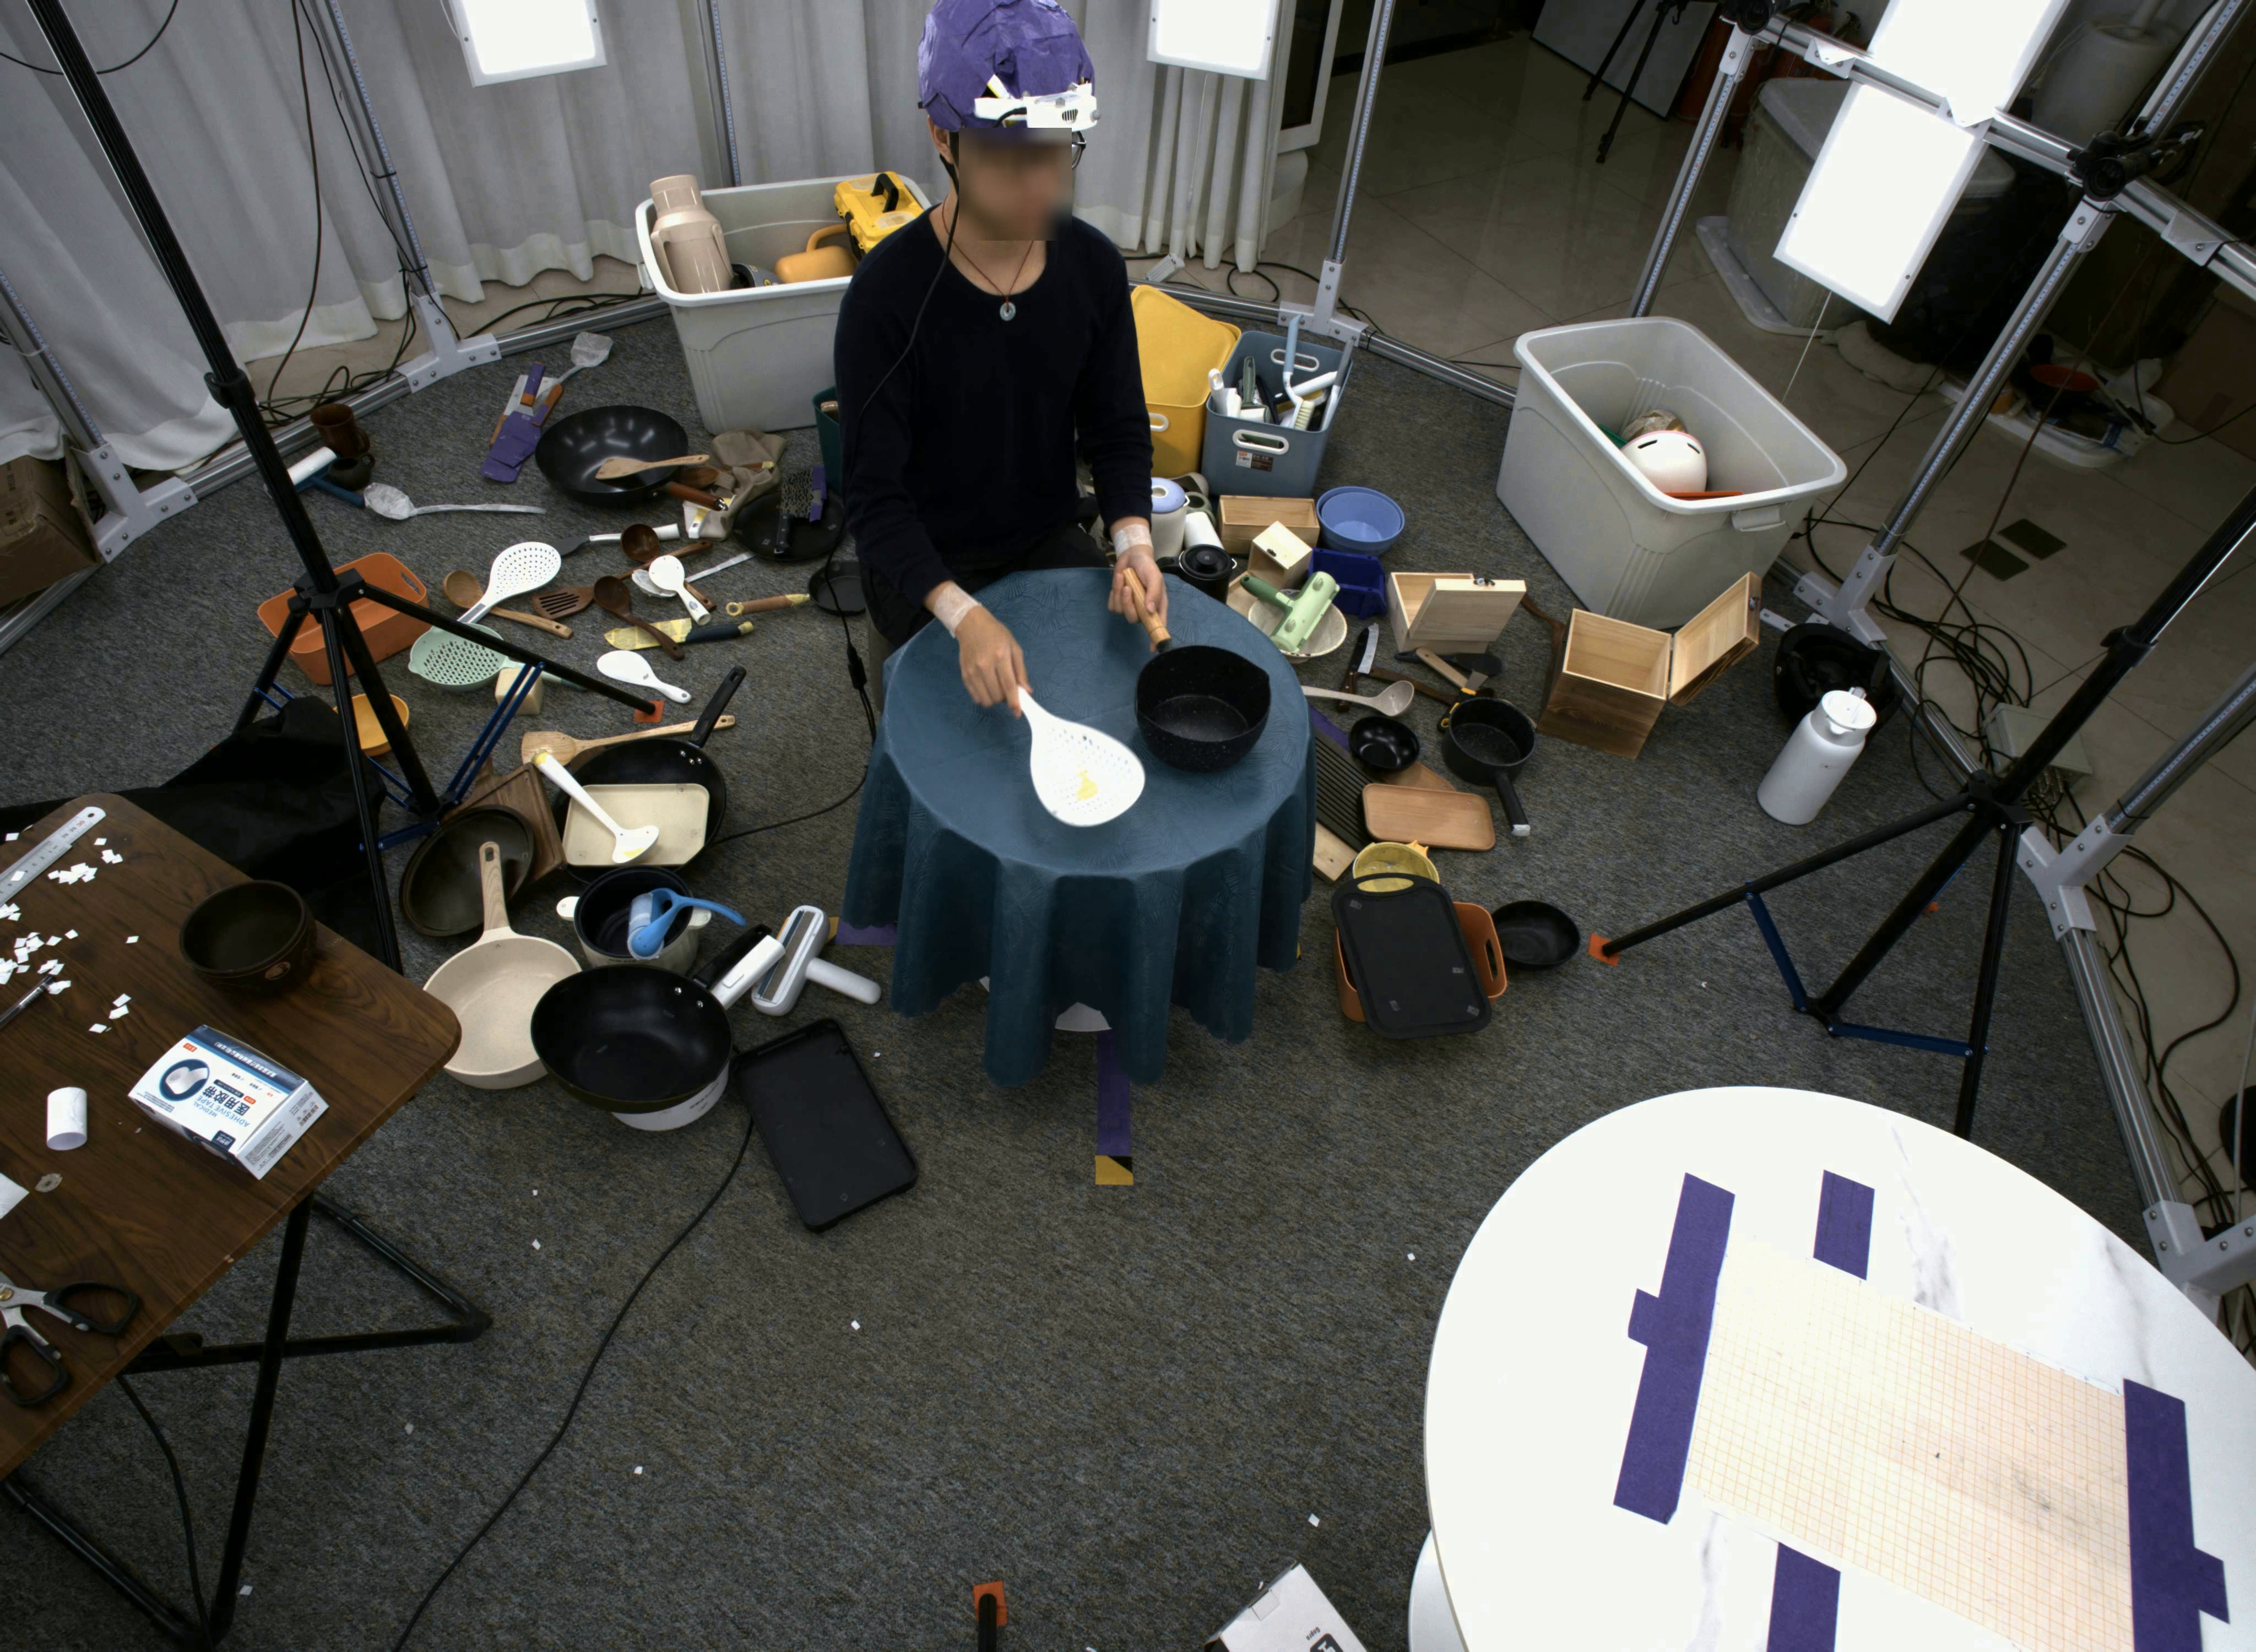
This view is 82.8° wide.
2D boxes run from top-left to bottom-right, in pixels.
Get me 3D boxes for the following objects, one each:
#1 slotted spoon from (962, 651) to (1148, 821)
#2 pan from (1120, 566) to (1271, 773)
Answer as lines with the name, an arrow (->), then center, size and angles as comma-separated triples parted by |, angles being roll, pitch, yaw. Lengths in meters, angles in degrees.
slotted spoon -> -0.111, -0.133, 1.685 | 0.137, 0.049, 0.353 | -33, 65, -17
pan -> 0.064, -0.219, 1.793 | 0.208, 0.105, 0.350 | -19, 54, -18
